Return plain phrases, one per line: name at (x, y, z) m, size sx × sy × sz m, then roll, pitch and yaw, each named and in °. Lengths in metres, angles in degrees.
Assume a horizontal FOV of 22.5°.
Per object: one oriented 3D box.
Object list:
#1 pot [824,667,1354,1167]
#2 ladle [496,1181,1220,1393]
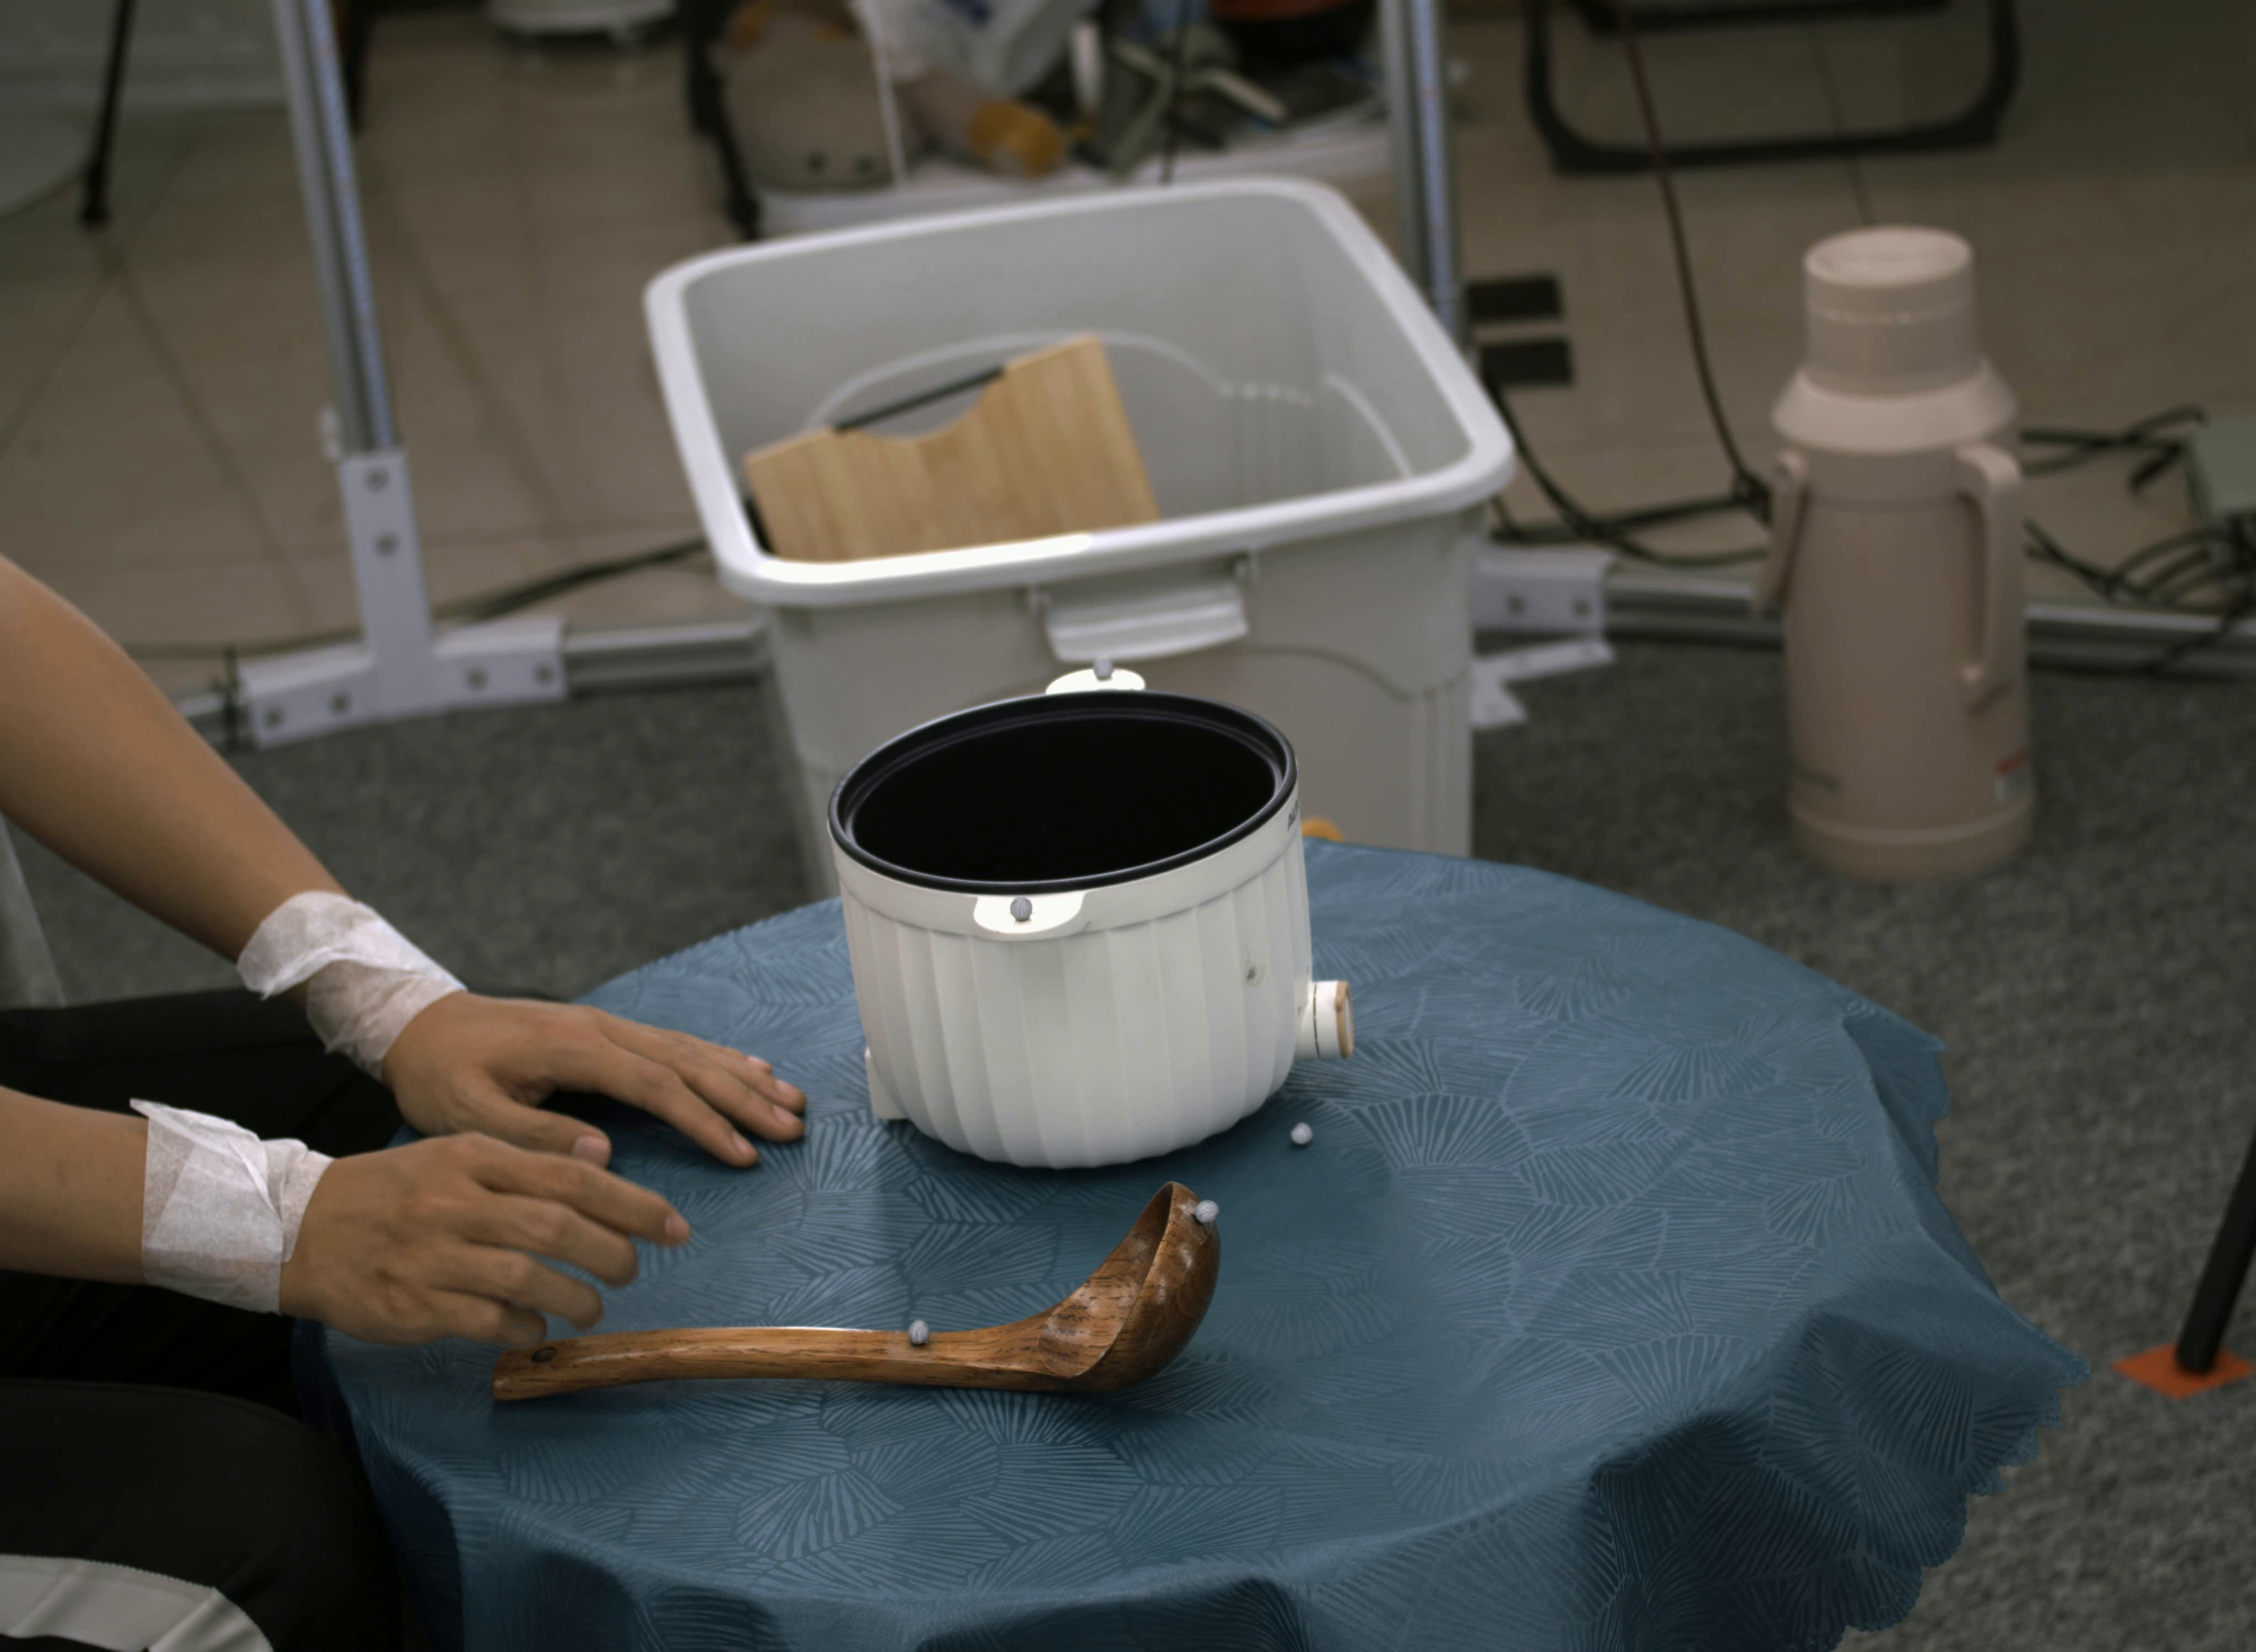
pot at (-0.013, 0.042, 2.195) m, size 0.190 × 0.145 × 0.237 m, roll -6°, pitch 26°, yaw 10°
ladle at (-0.100, 0.166, 2.026) m, size 0.273 × 0.078 × 0.080 m, roll 0°, pitch 29°, yaw 12°
